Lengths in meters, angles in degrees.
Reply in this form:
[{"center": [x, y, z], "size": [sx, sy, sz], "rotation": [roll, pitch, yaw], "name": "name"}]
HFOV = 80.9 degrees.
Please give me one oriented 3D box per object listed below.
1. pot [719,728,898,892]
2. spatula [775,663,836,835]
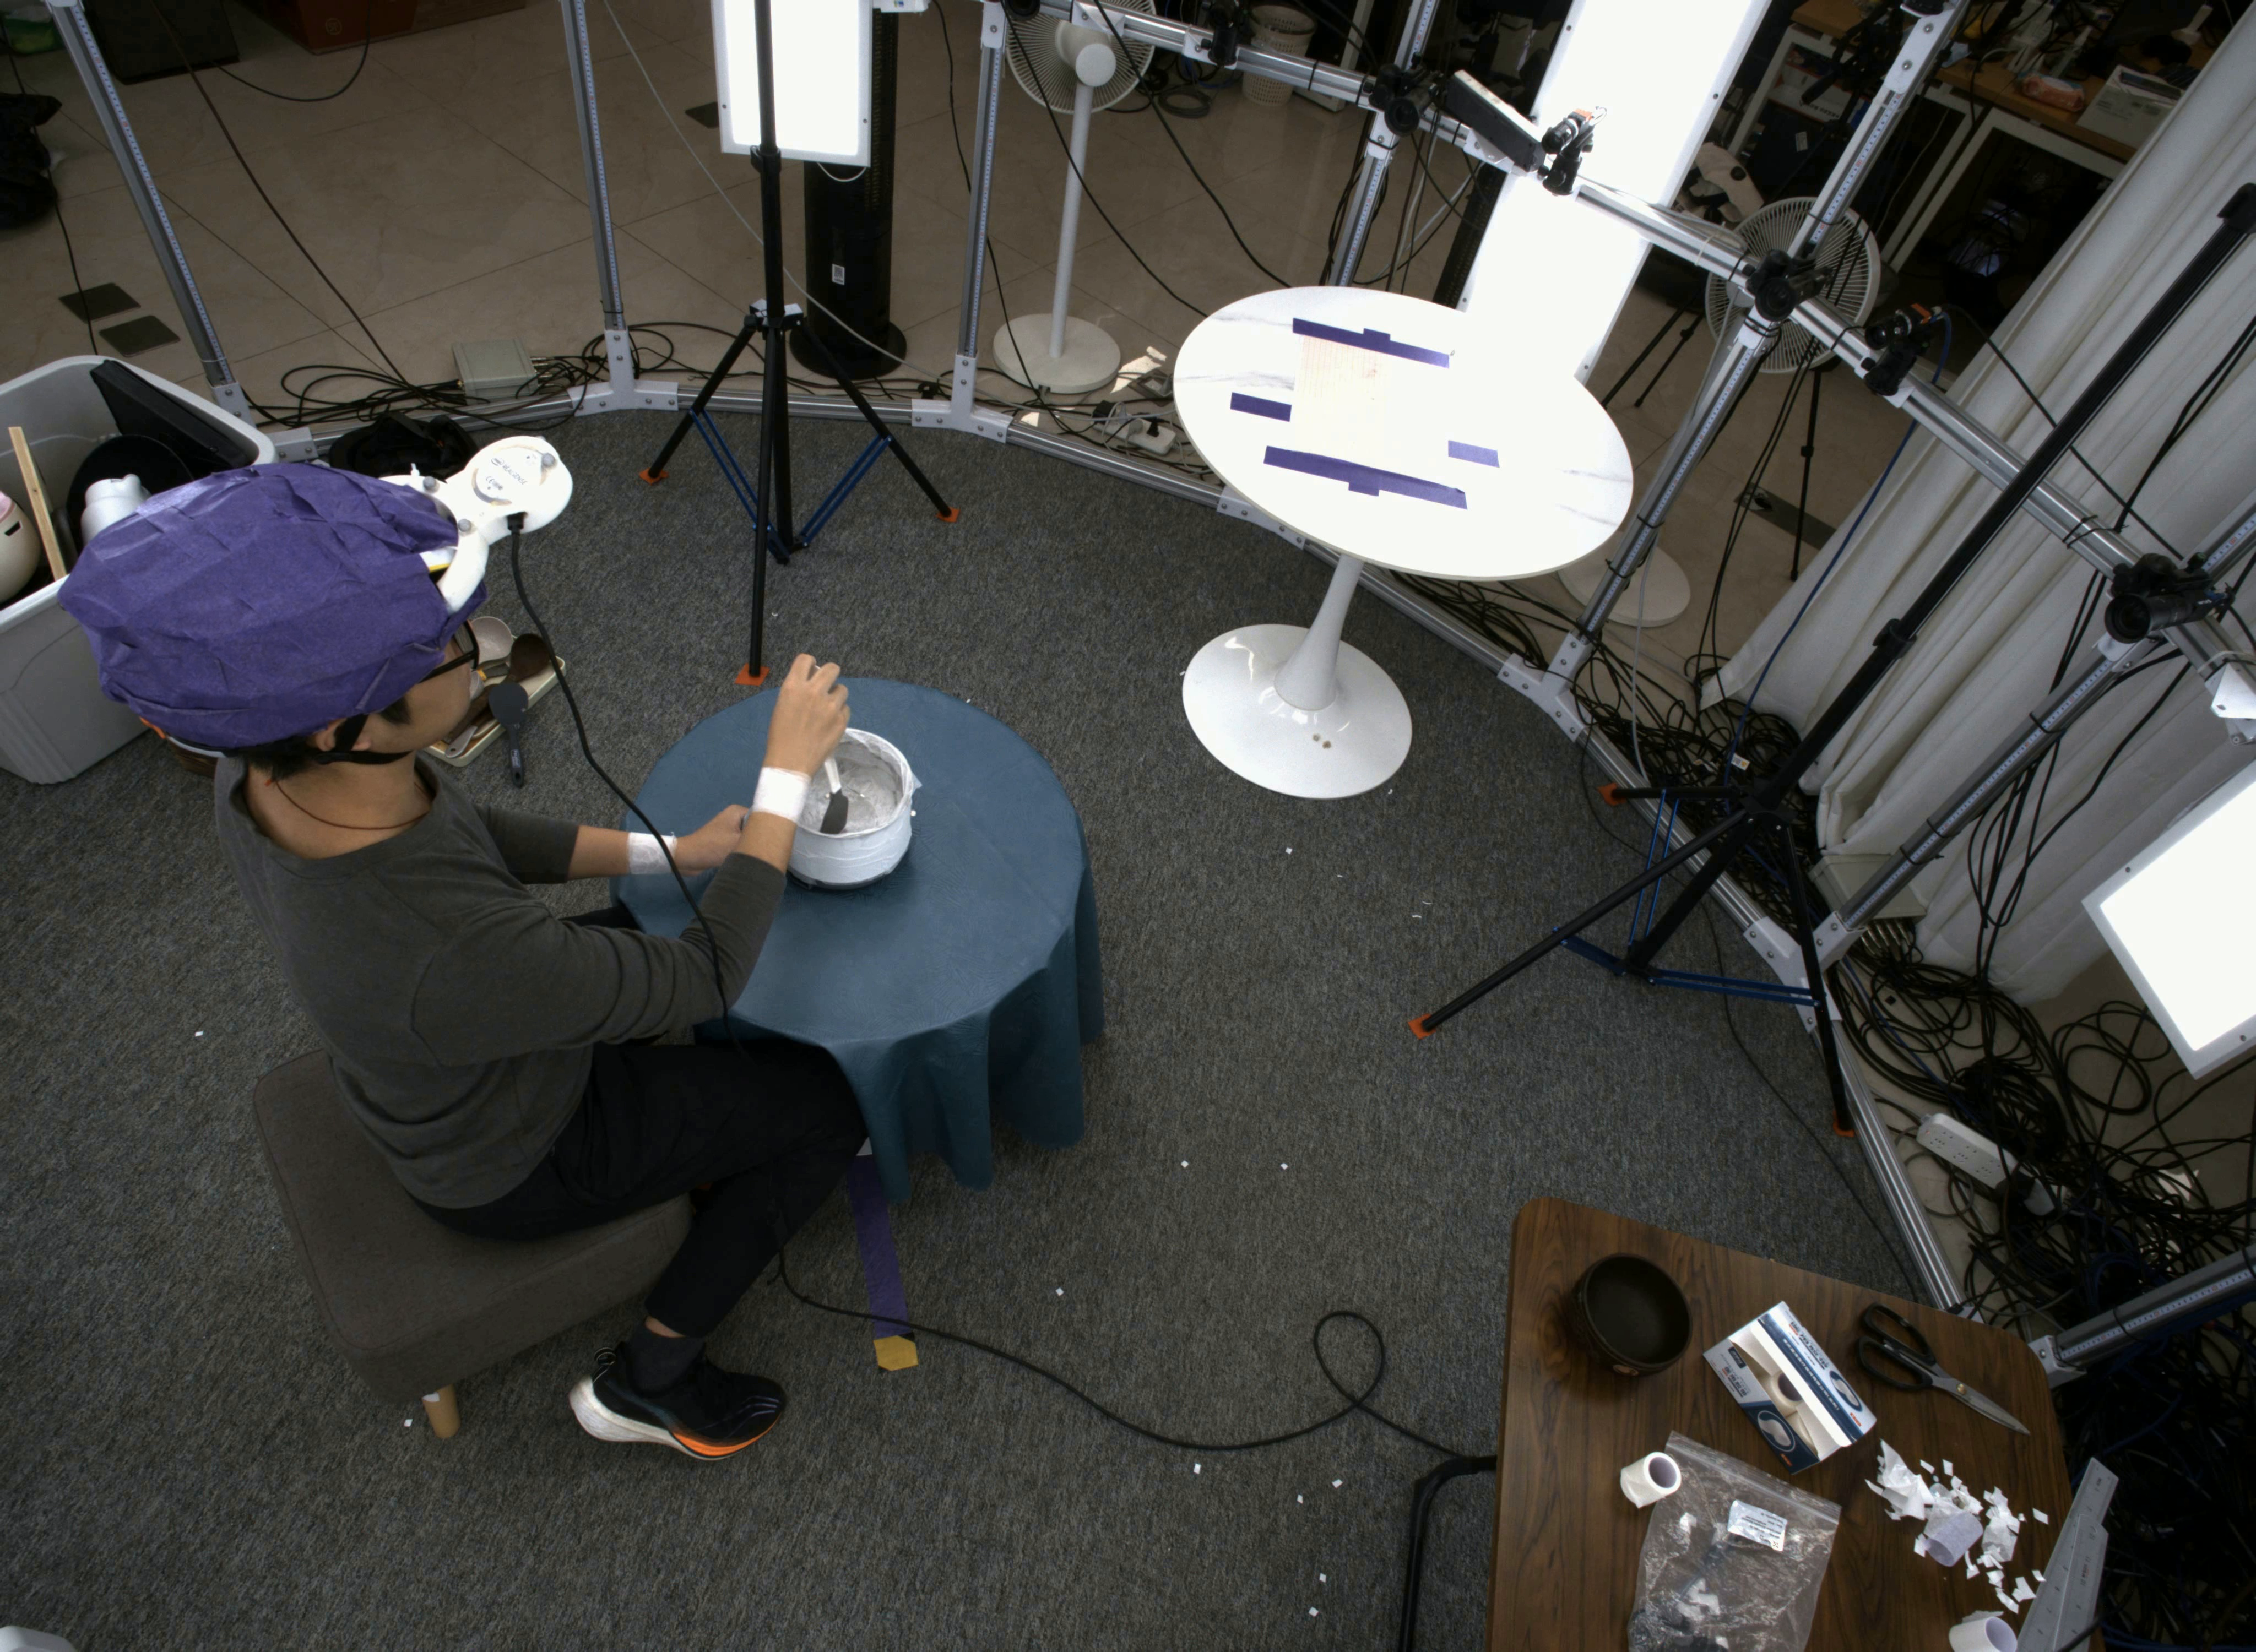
[{"center": [-0.410, -0.008, 1.657], "size": [0.235, 0.139, 0.174], "rotation": [-21, 60, -26], "name": "pot"}, {"center": [-0.385, -0.075, 1.557], "size": [0.031, 0.296, 0.058], "rotation": [24, 53, 17], "name": "spatula"}]
